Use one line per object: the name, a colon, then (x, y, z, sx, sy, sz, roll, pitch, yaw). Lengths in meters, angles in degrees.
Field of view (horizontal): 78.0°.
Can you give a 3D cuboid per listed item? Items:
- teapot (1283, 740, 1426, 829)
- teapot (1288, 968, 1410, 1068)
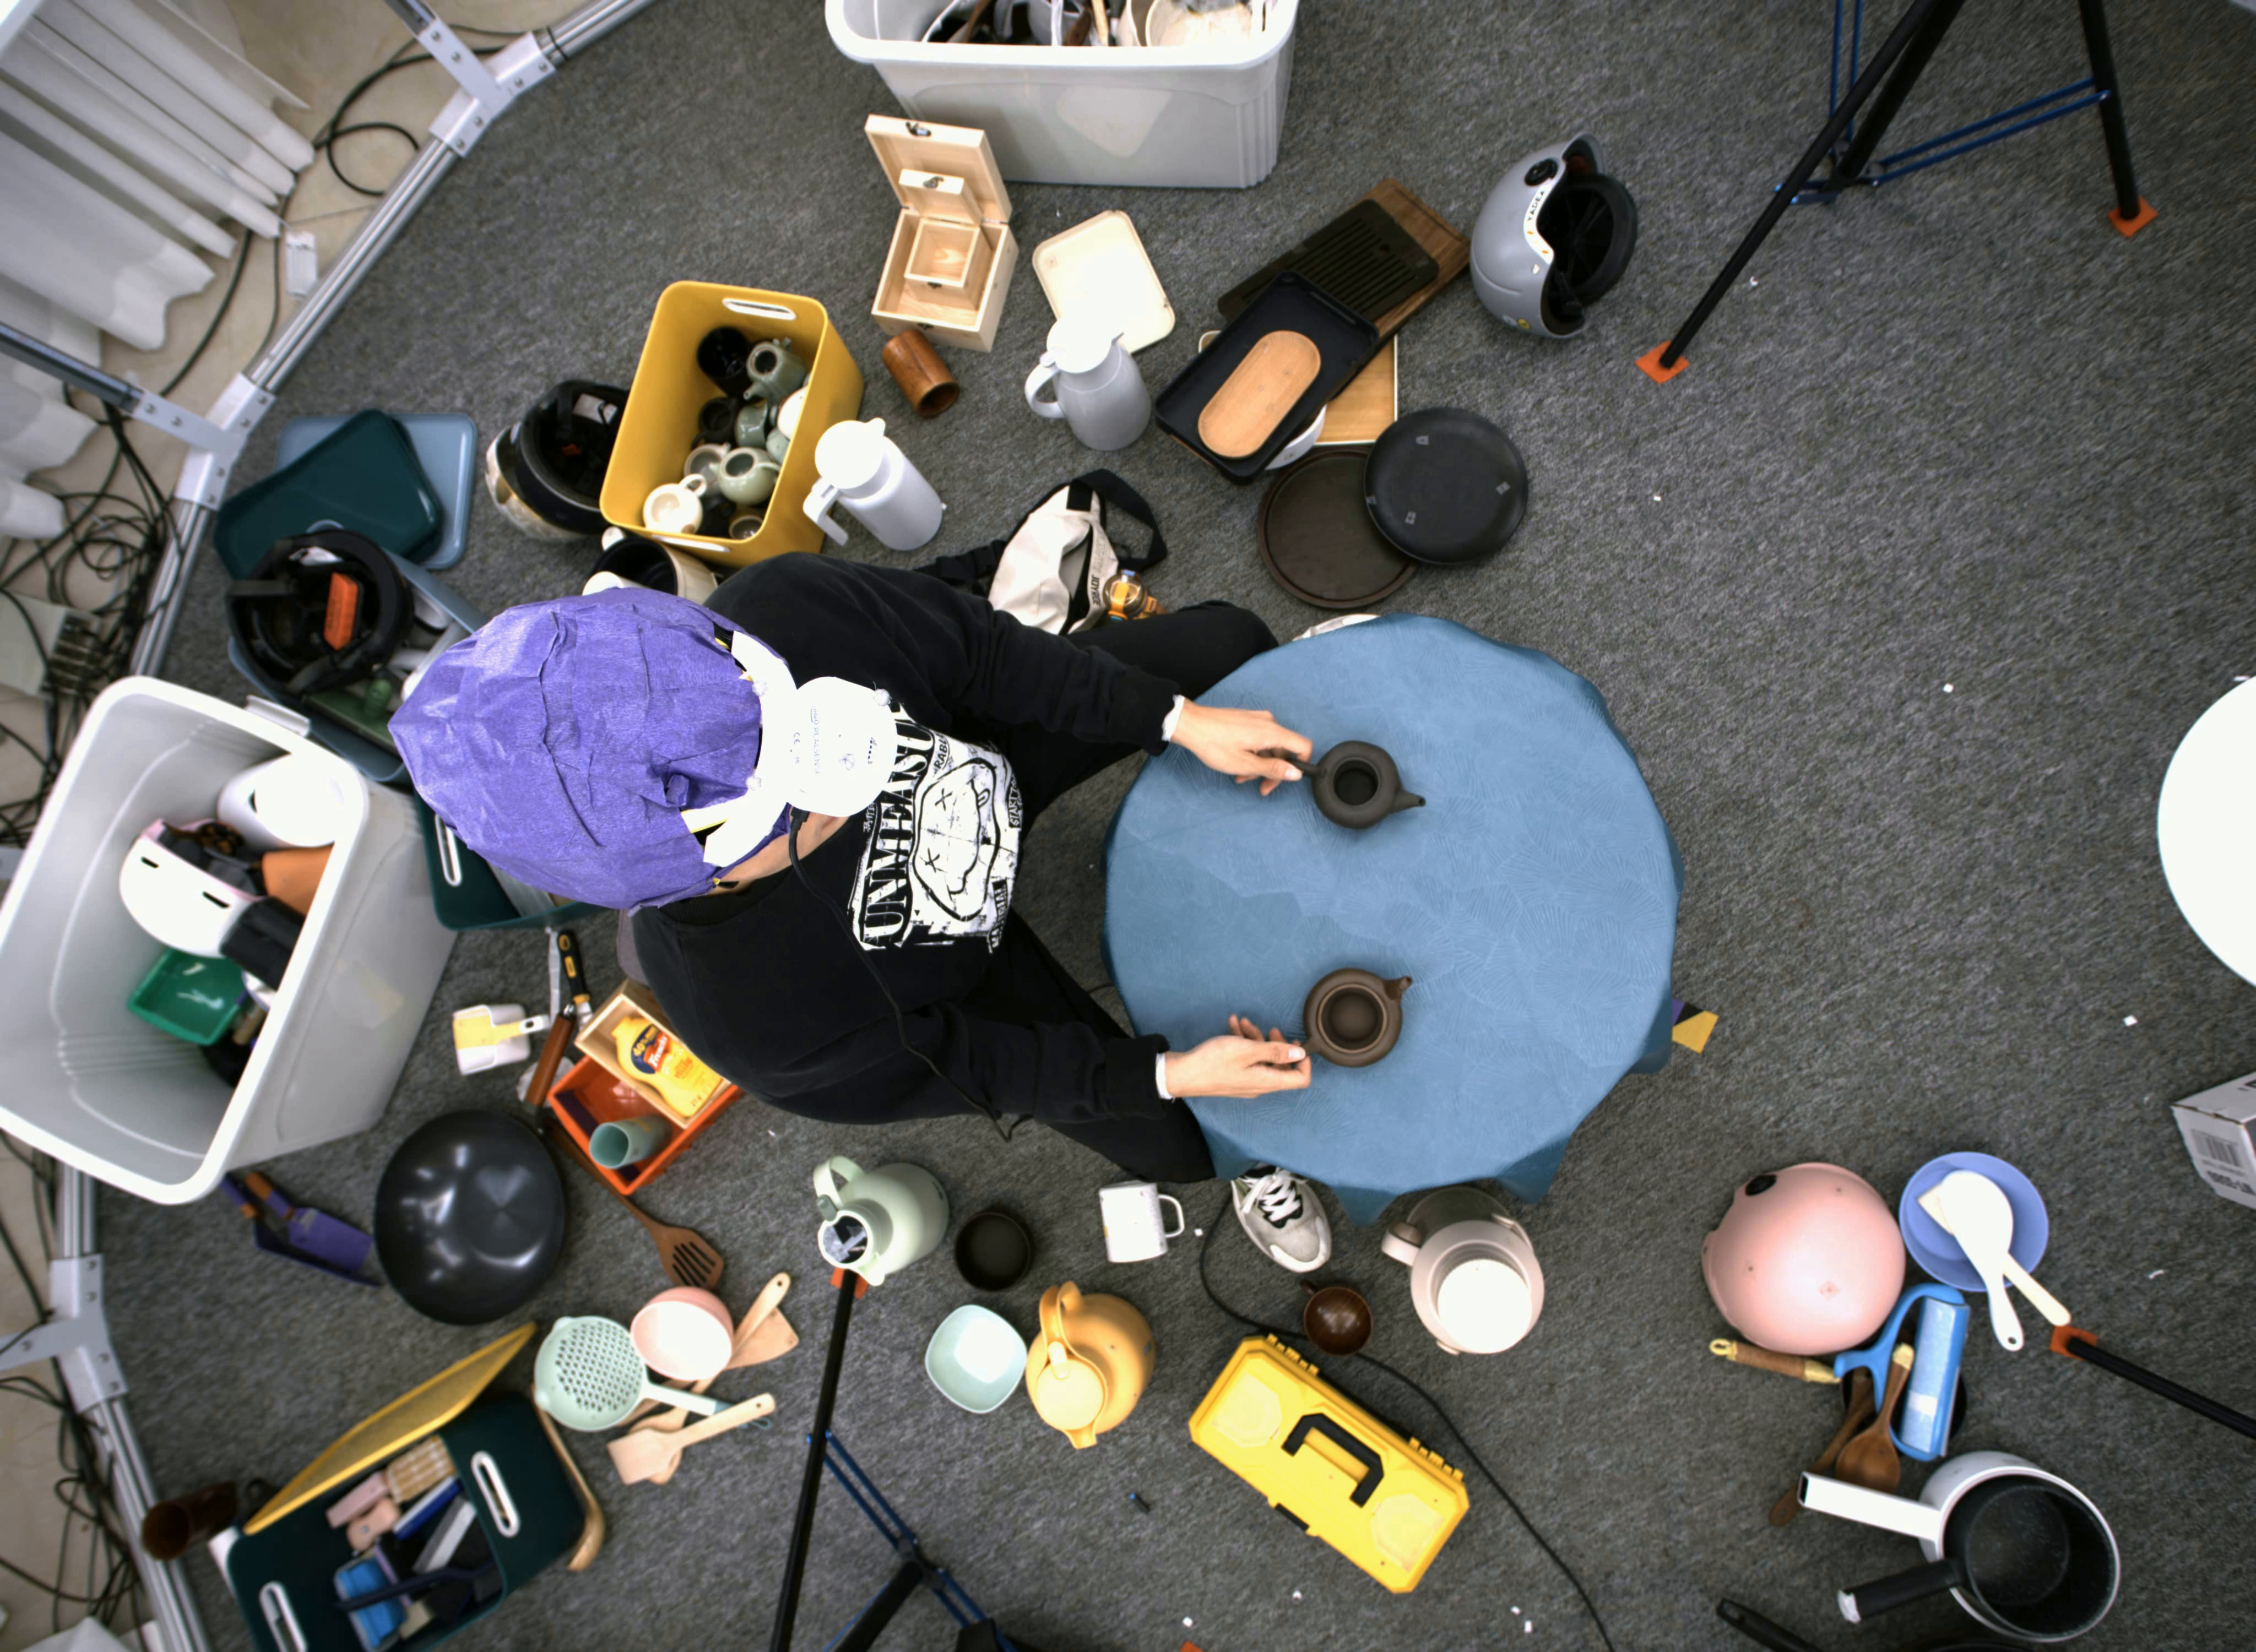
teapot: (0.235, -0.045, 1.441, 0.154, 0.064, 0.092, 18, 88, 11)
teapot: (0.229, 0.200, 1.435, 0.154, 0.054, 0.102, -41, 78, 6)
